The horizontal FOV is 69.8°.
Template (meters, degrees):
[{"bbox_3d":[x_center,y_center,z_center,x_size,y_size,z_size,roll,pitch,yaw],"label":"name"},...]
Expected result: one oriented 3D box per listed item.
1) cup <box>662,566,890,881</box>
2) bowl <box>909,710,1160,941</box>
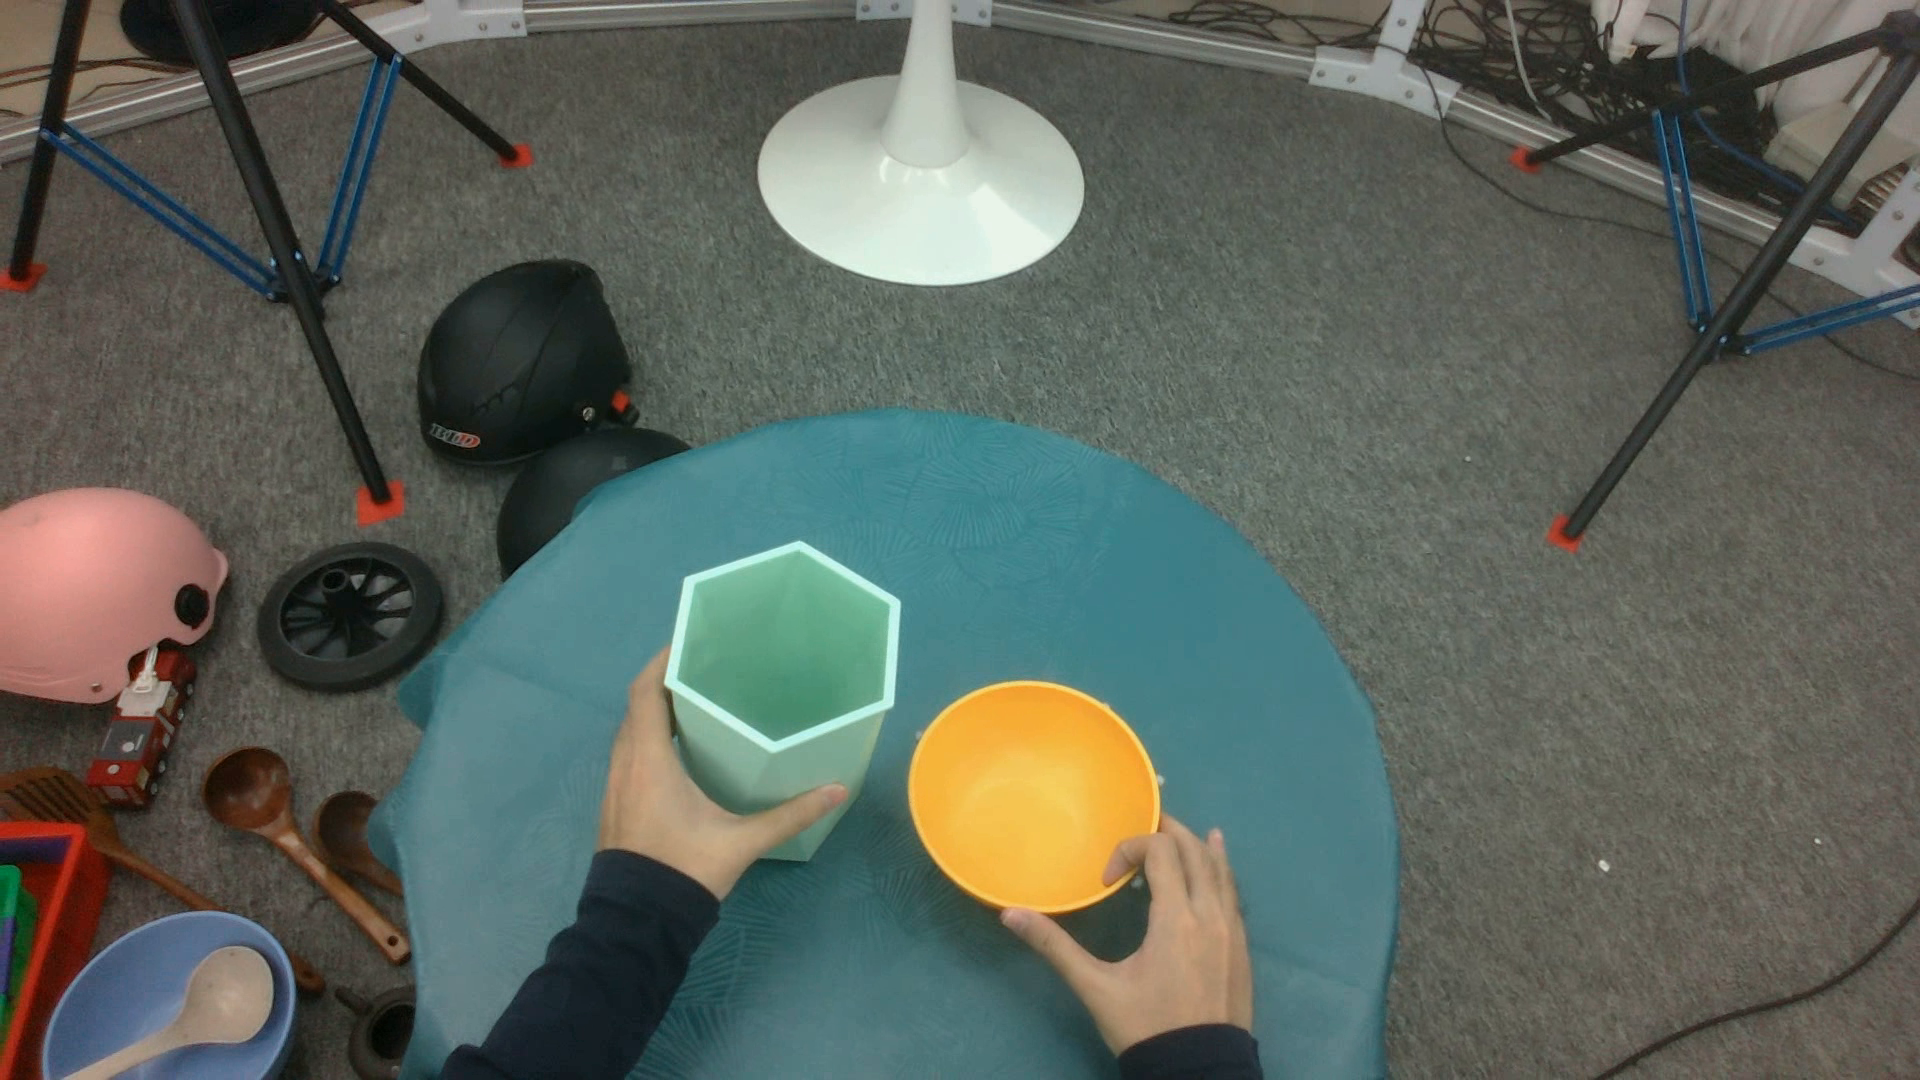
[{"bbox_3d":[-0.102,0.114,0.776,0.131,0.162,0.116,26,52,12],"label":"cup"},{"bbox_3d":[0.042,0.176,0.813,0.145,0.060,0.146,2,51,-2],"label":"bowl"}]
